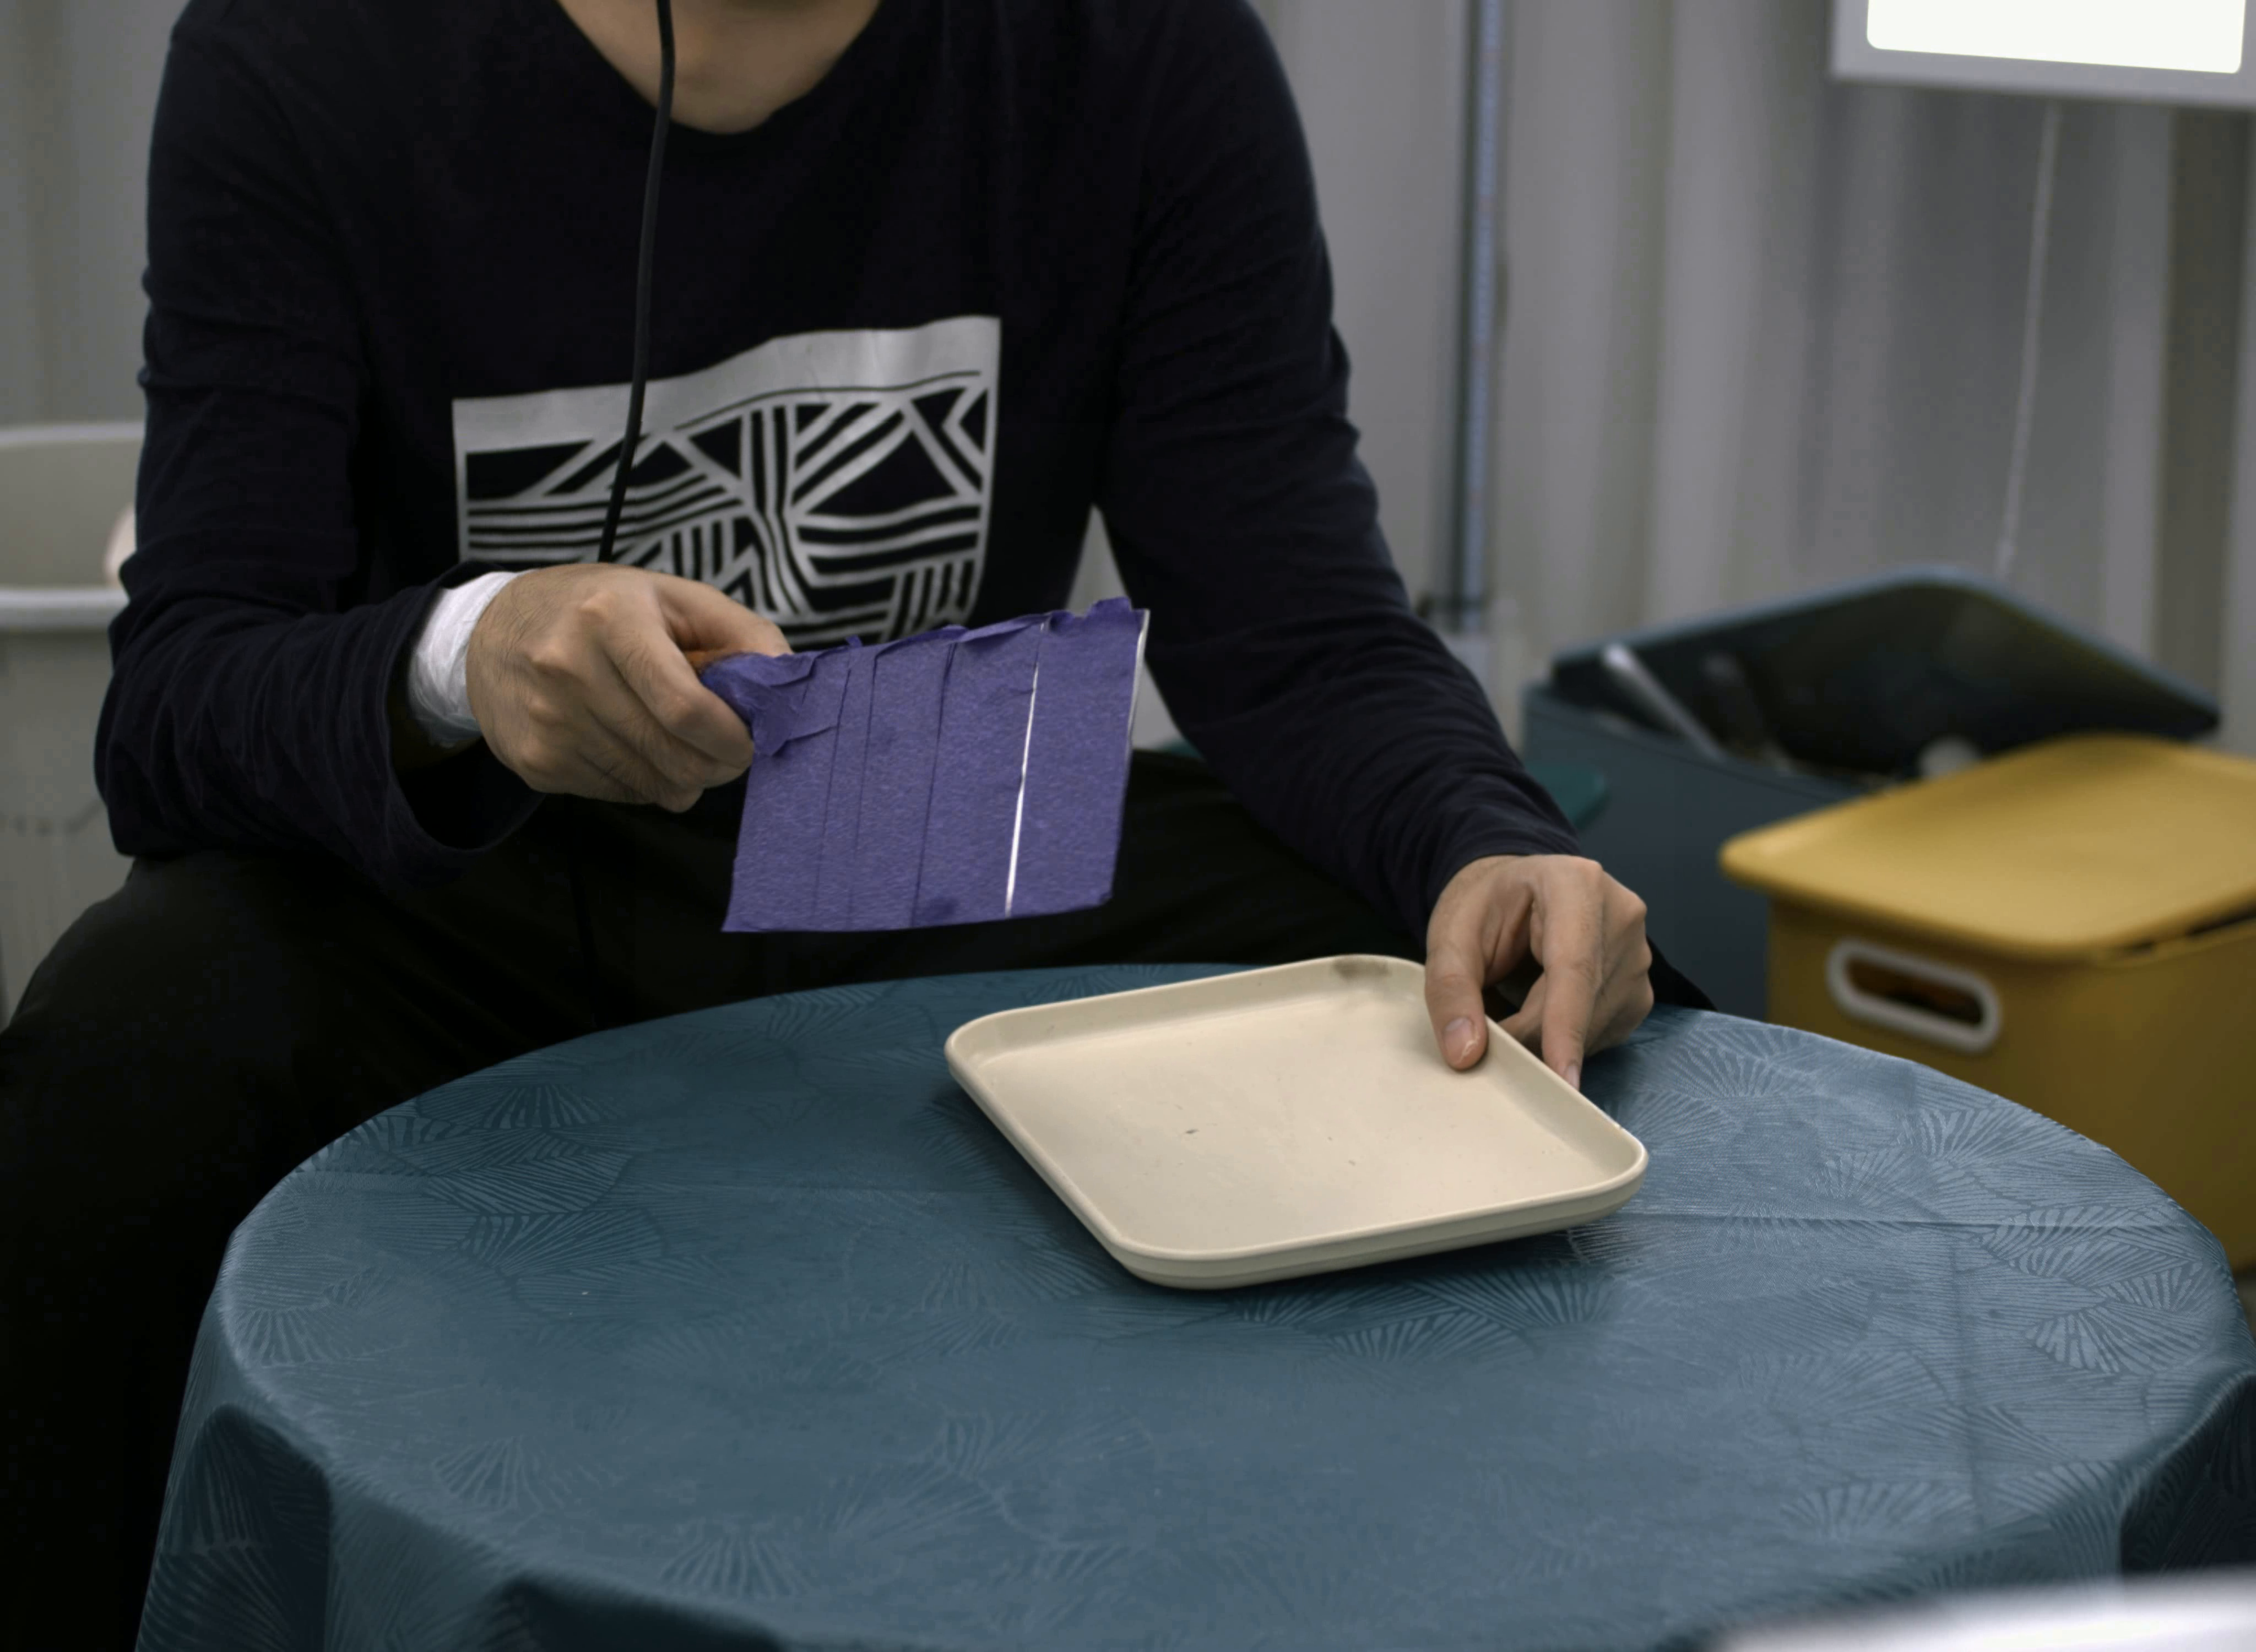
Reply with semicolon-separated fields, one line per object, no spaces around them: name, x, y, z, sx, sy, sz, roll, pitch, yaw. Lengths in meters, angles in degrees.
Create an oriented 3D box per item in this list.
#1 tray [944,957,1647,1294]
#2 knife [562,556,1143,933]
tray;0.048;0.092;1.648;0.171;0.017;0.237;-9;18;-15
knife;-0.094;-0.015;1.607;0.032;0.104;0.312;17;-14;-31
